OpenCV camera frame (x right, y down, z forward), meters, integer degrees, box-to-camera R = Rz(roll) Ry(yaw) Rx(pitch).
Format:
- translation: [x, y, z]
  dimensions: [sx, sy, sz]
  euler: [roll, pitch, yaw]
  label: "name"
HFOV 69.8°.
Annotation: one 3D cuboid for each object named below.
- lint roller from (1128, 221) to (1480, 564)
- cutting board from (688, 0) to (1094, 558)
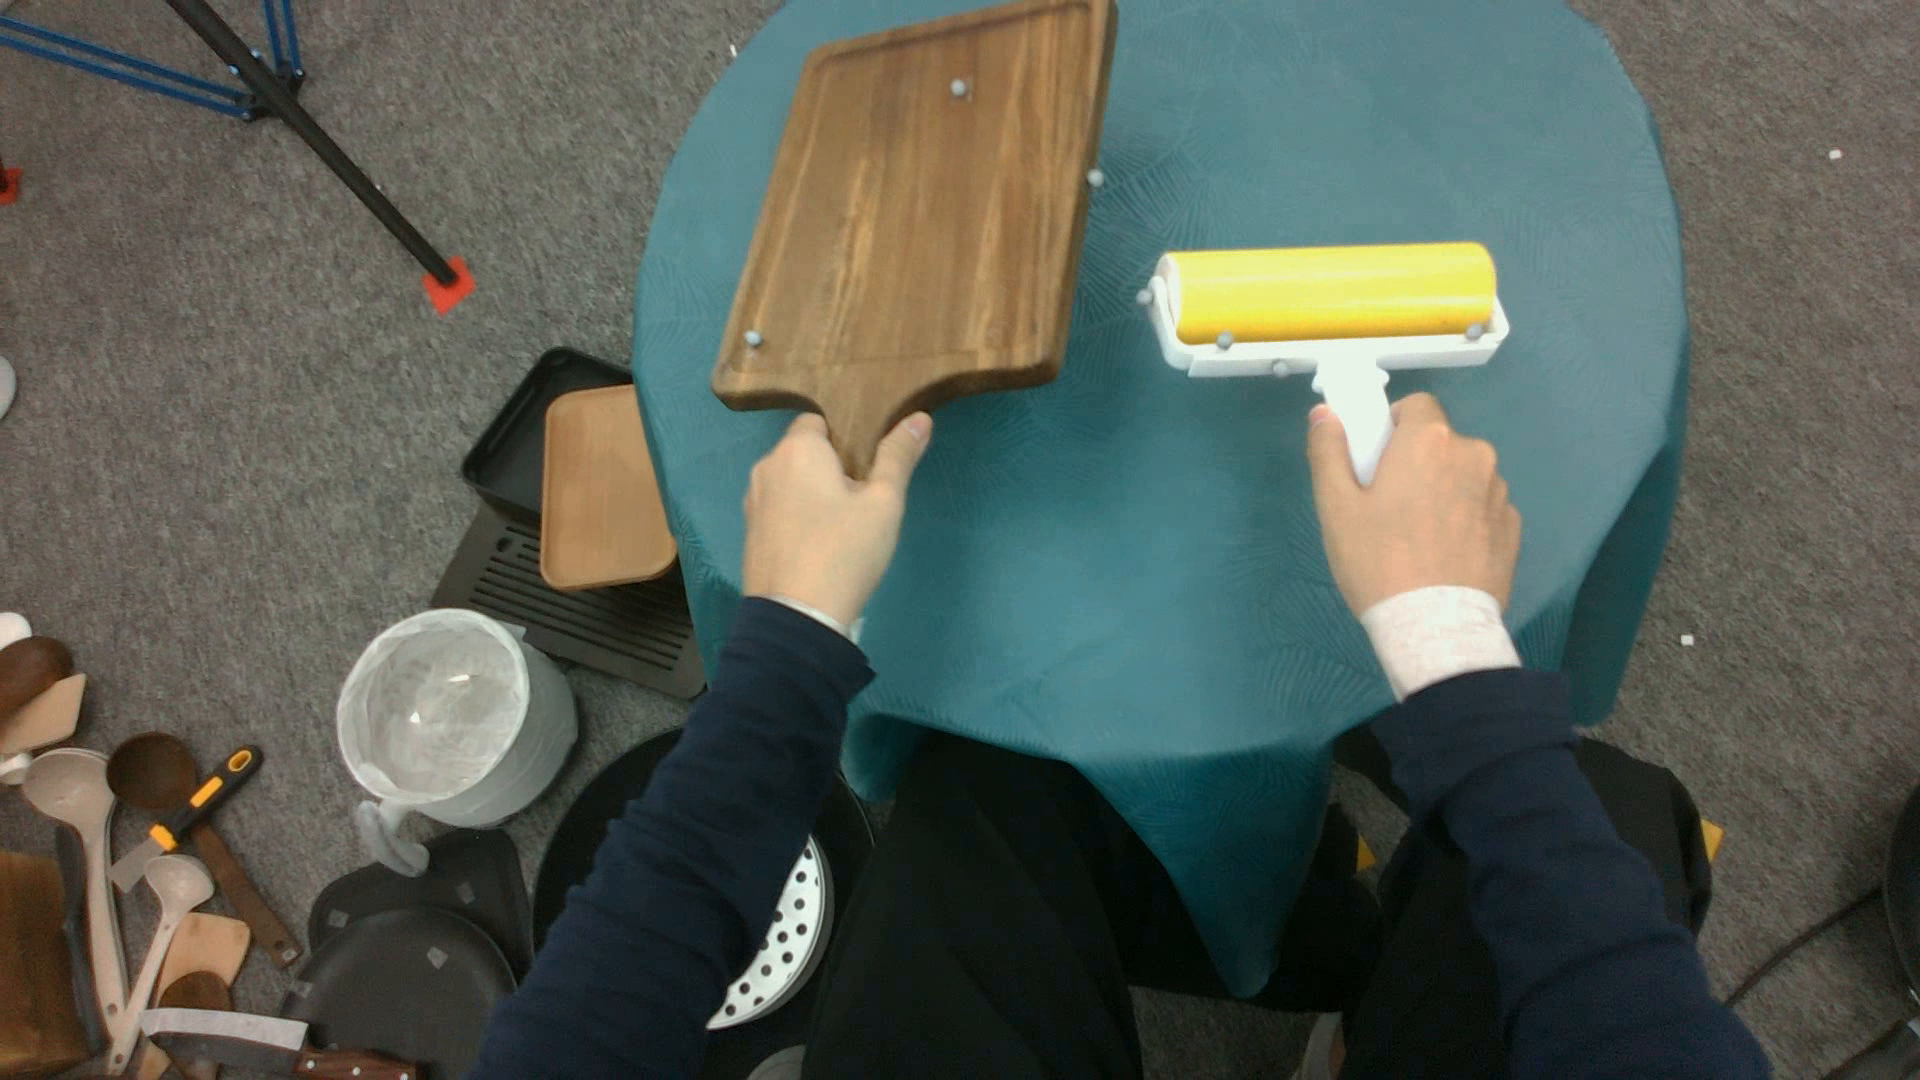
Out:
- translation: [0.183, -0.077, 0.652]
  dimensions: [0.174, 0.051, 0.193]
  euler: [-5, 50, -9]
  label: "lint roller"
- translation: [-0.042, -0.151, 0.726]
  dimensions: [0.200, 0.023, 0.353]
  euler: [-2, 62, 24]
  label: "cutting board"
